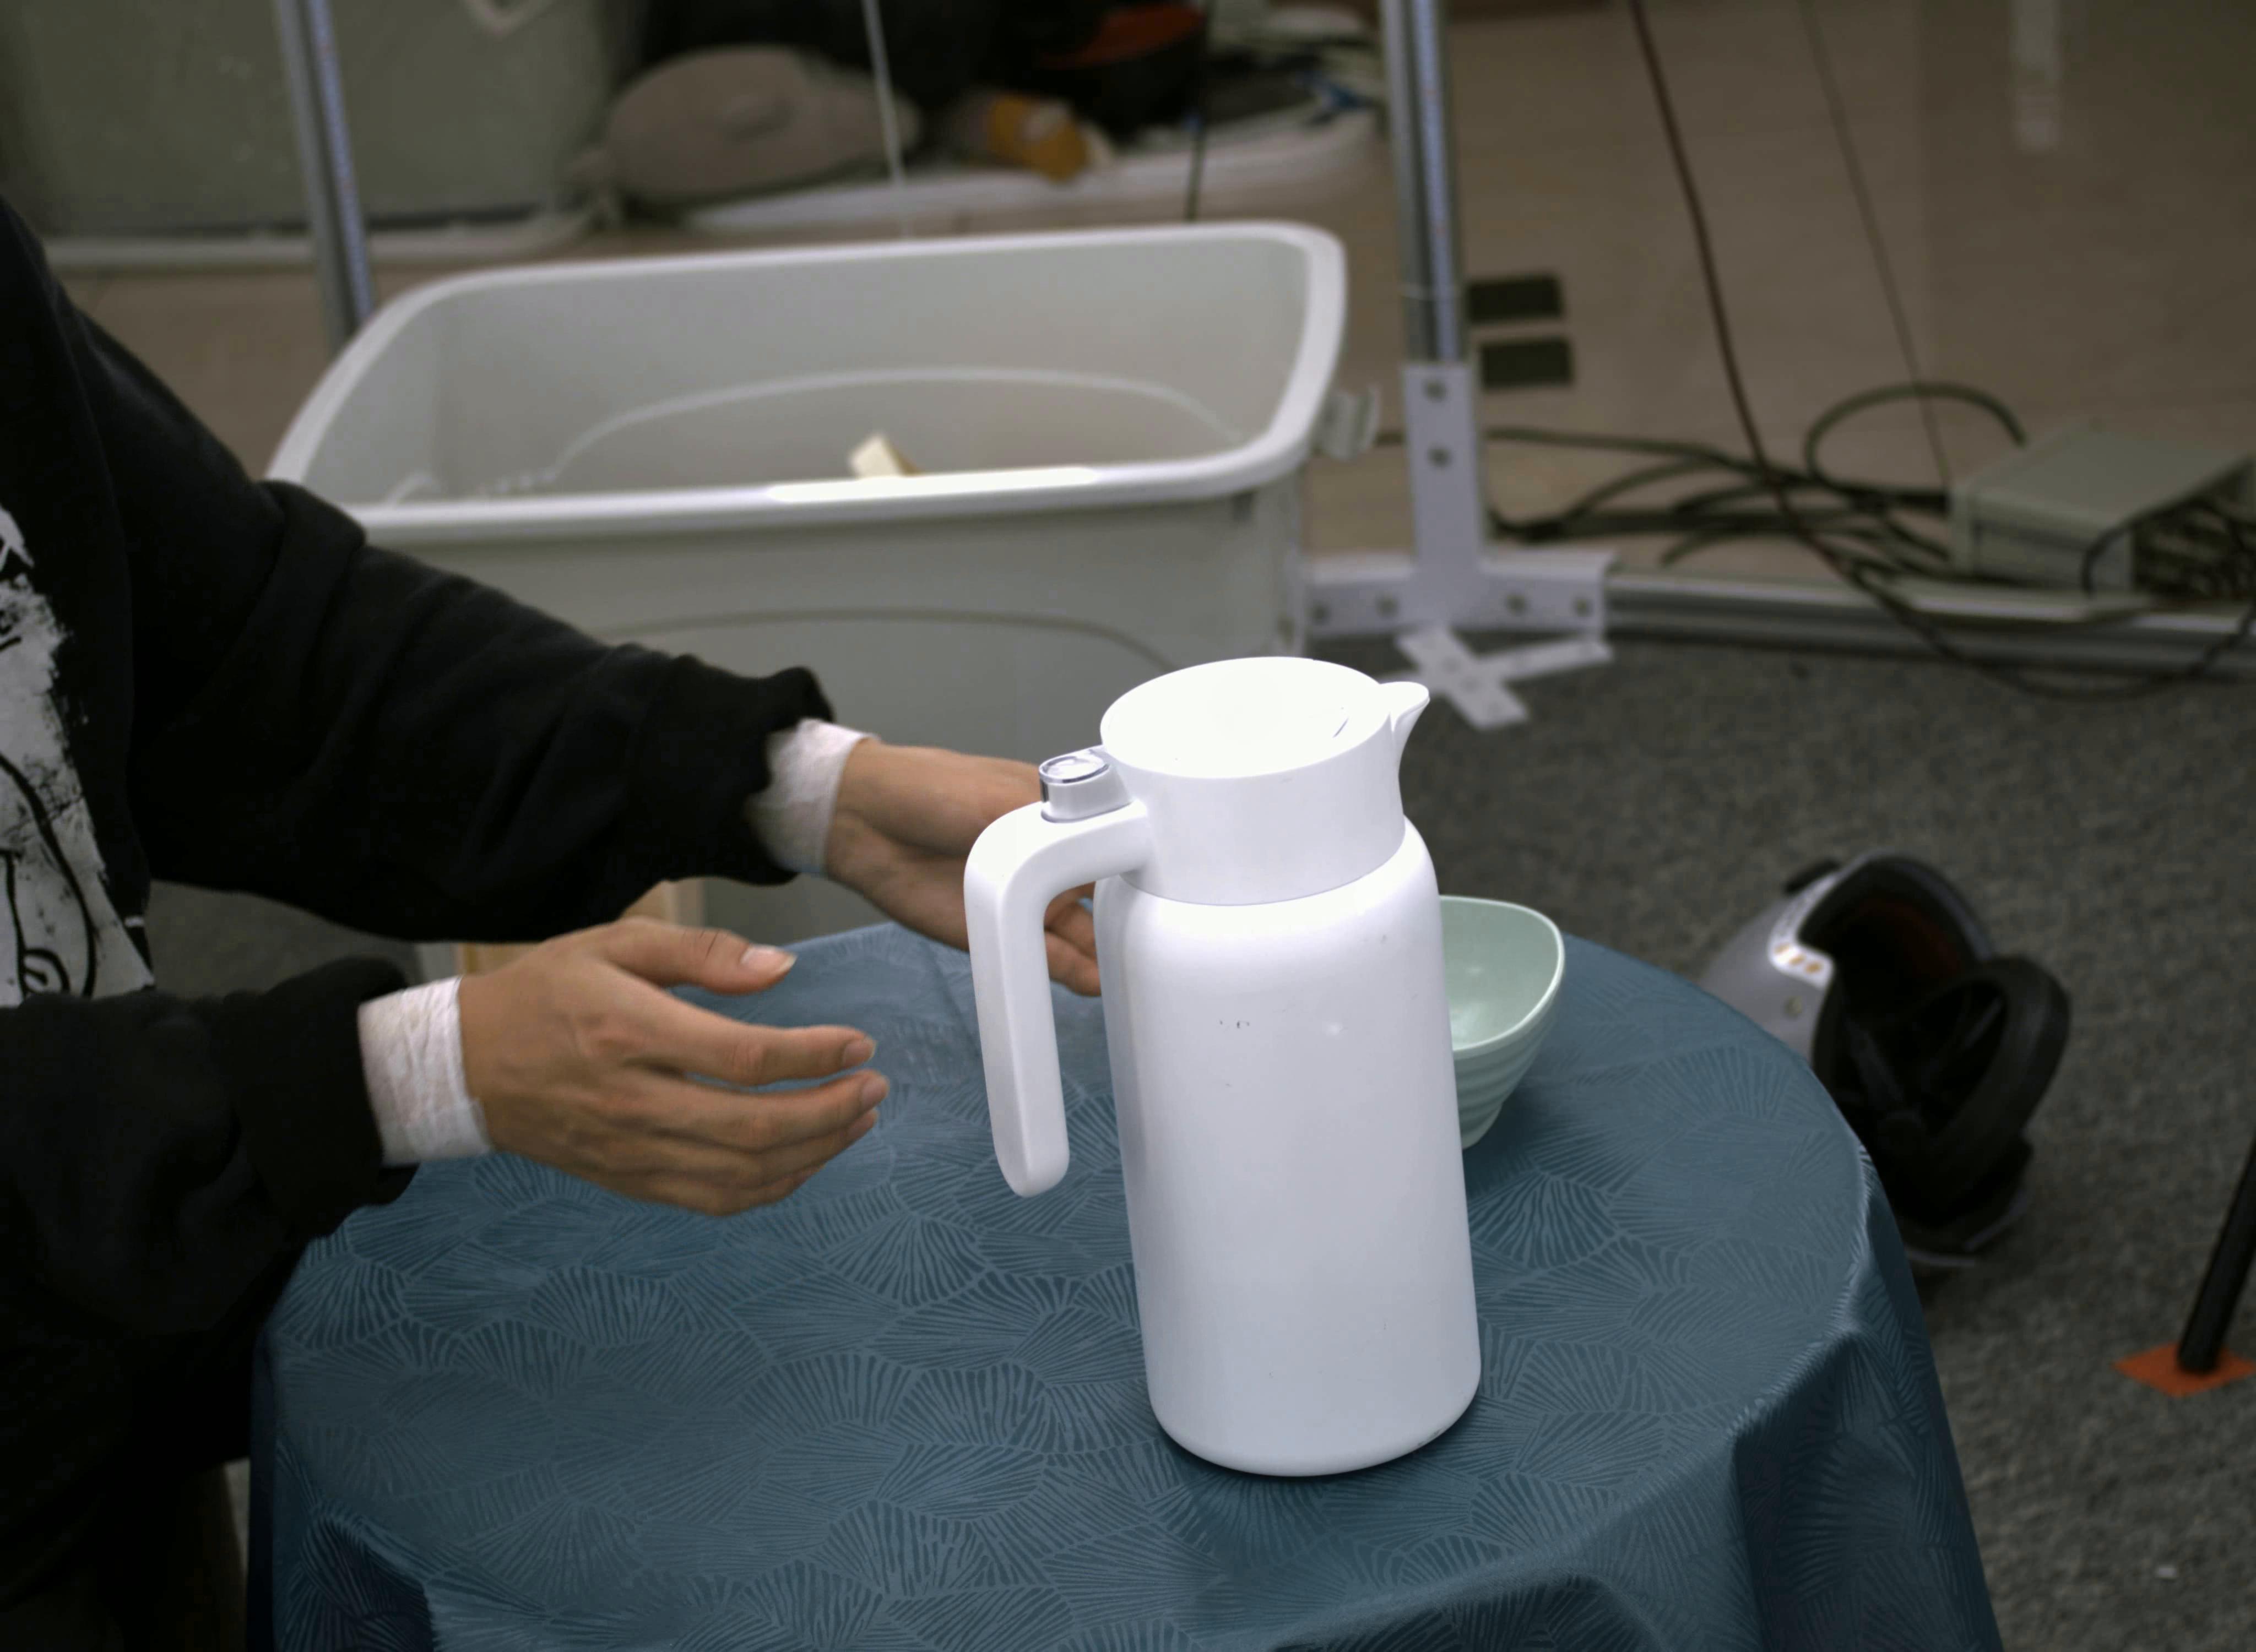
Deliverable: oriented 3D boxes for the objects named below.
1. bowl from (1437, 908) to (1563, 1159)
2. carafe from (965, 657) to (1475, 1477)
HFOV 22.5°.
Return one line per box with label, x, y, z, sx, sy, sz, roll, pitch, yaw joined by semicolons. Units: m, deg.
bowl;0.099;0.086;2.177;0.151;0.059;0.149;-5;25;3
carafe;0.037;0.087;1.931;0.172;0.273;0.122;-18;30;-22
